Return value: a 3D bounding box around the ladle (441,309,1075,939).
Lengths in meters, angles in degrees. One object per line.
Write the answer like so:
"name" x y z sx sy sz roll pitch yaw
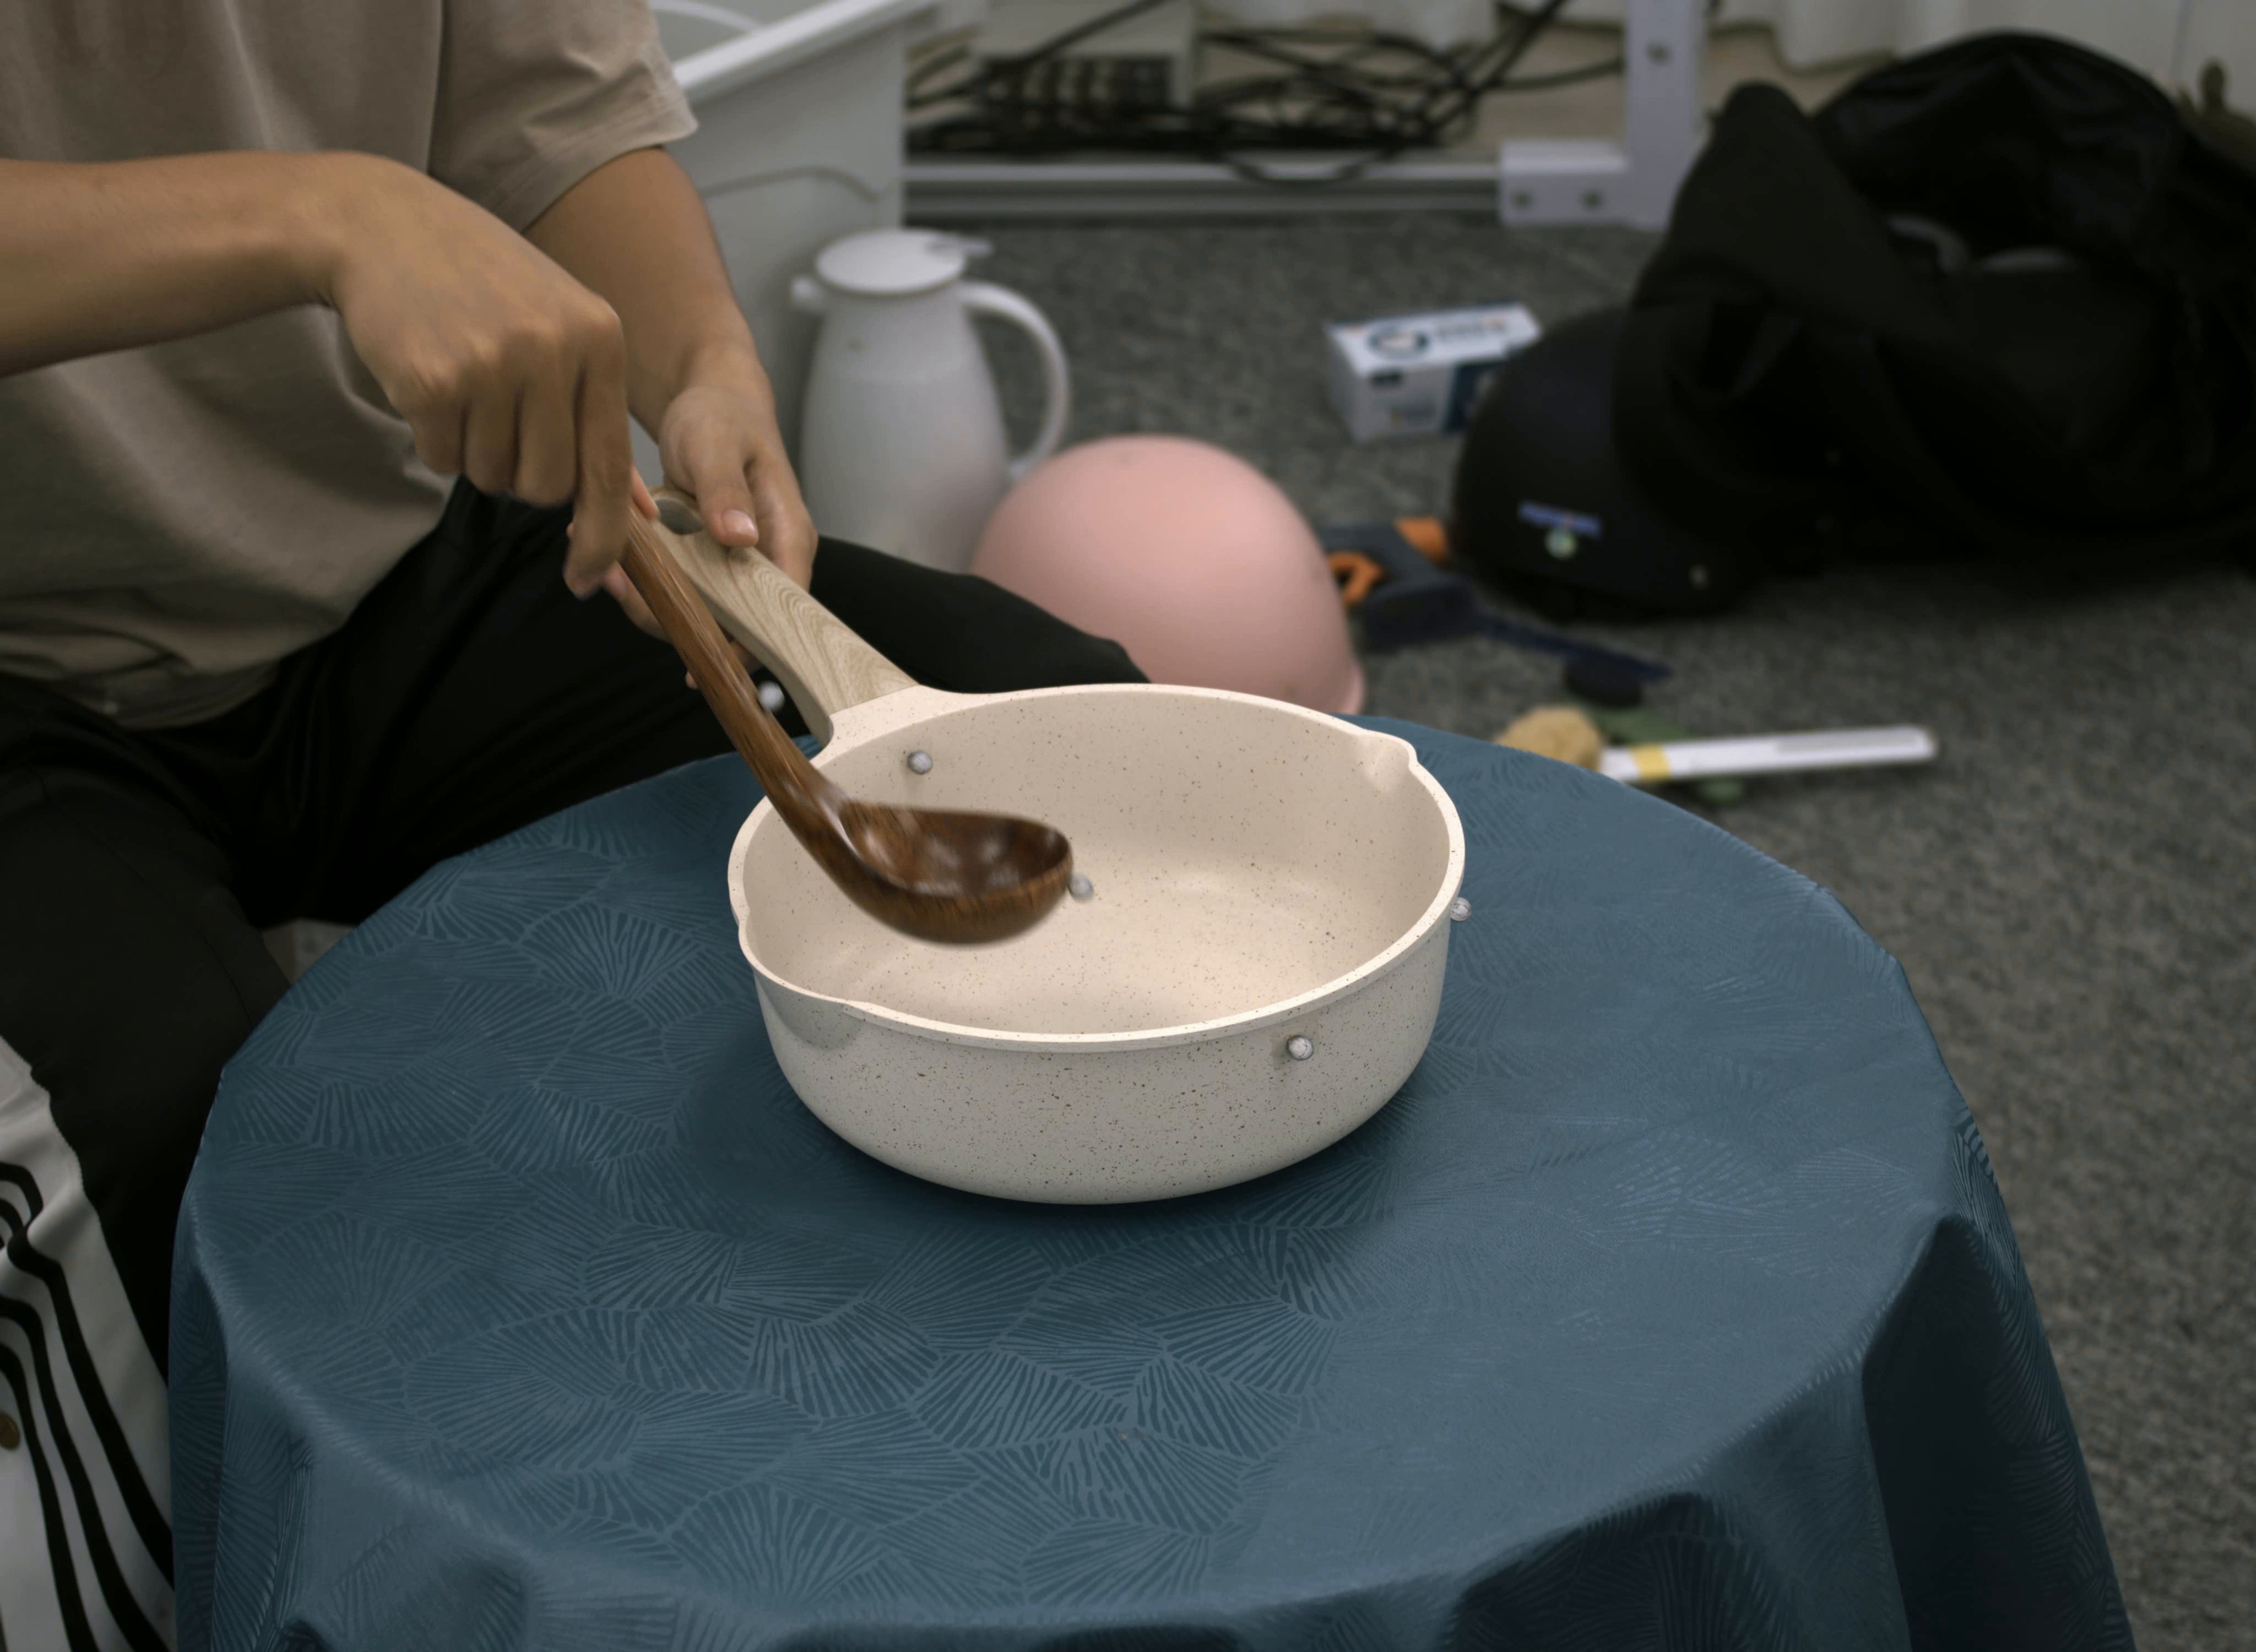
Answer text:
"ladle" -0.118 -0.072 1.859 0.076 0.273 0.082 -33 12 8

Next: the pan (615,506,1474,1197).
"pan" -0.057 0.002 1.991 0.265 0.101 0.436 -21 32 -28
